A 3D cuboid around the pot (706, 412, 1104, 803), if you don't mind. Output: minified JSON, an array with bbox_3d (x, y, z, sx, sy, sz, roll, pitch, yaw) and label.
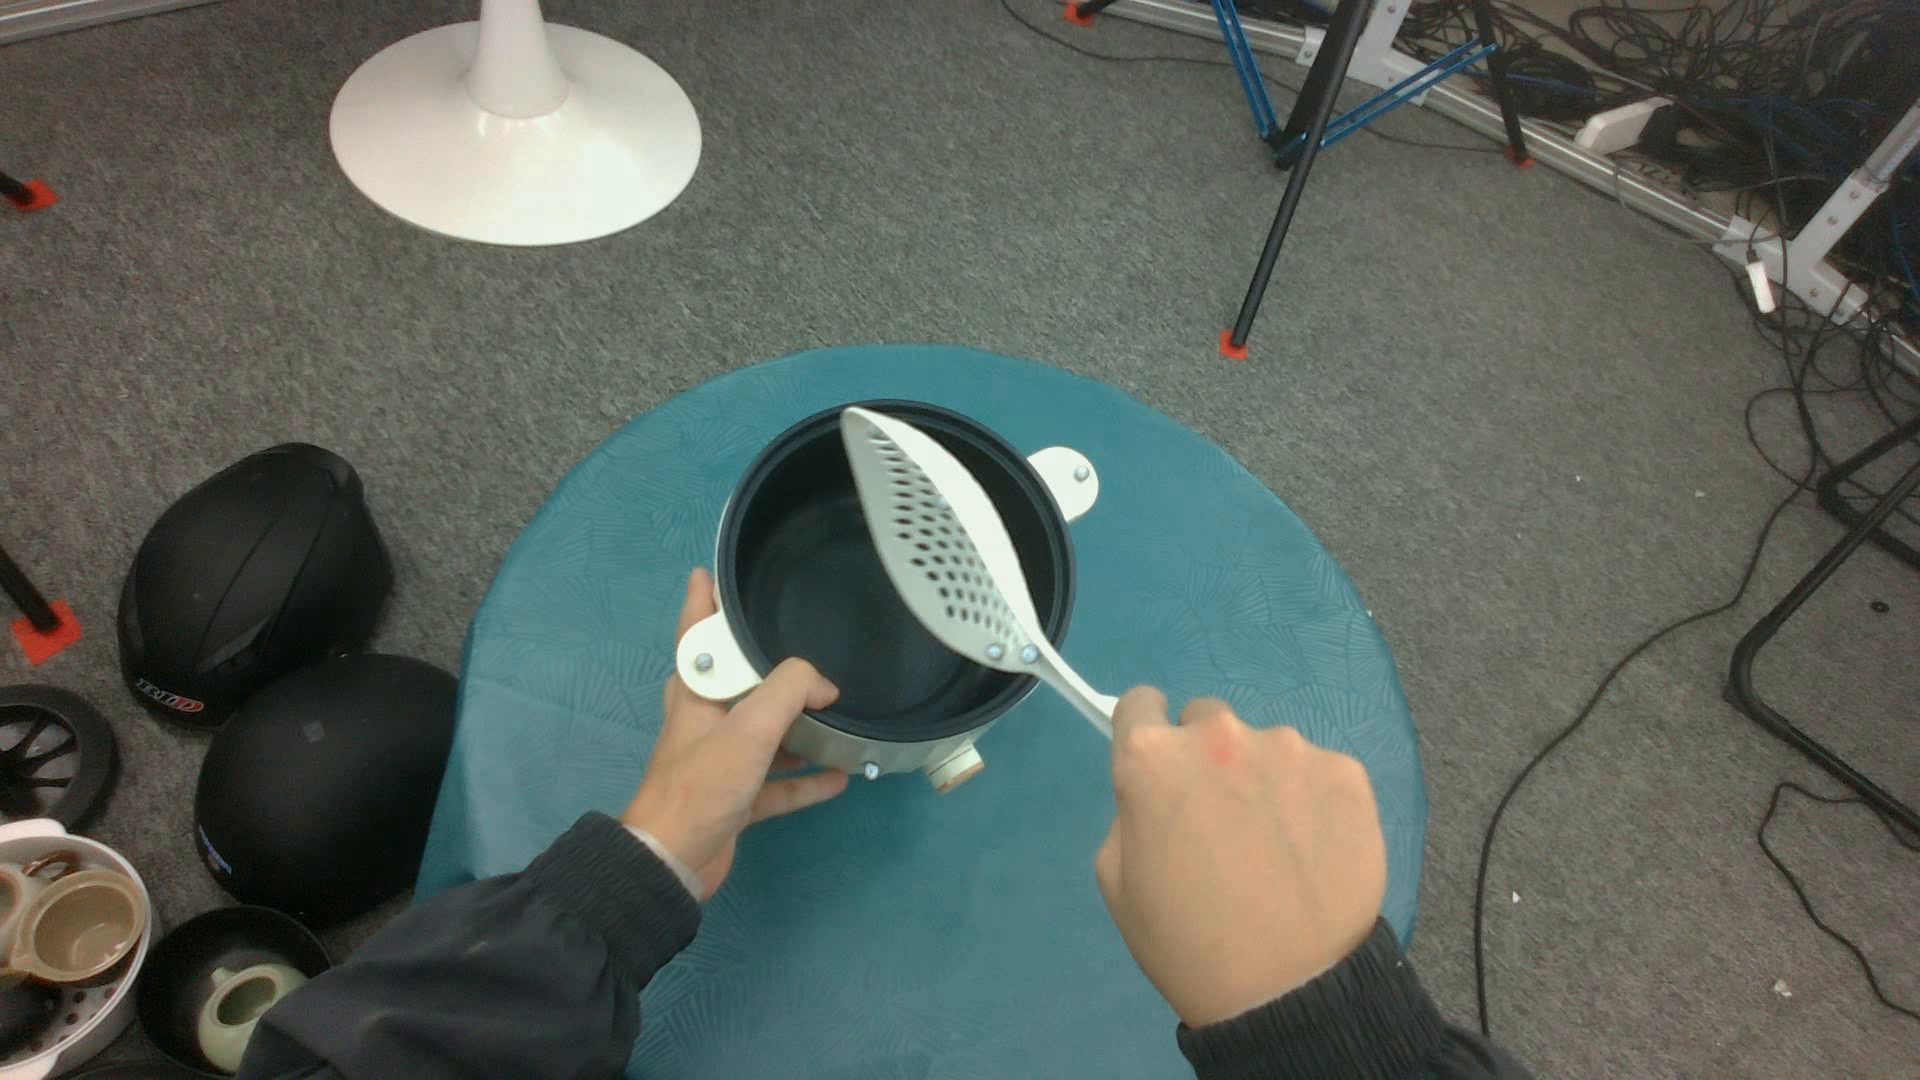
[{"bbox_3d":[-0.028,0.047,0.752,0.241,0.142,0.190,-31,73,-20],"label":"pot"}]

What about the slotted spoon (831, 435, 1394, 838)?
[{"bbox_3d":[0.046,0.046,0.609,0.050,0.136,0.348,-29,37,-17],"label":"slotted spoon"}]
